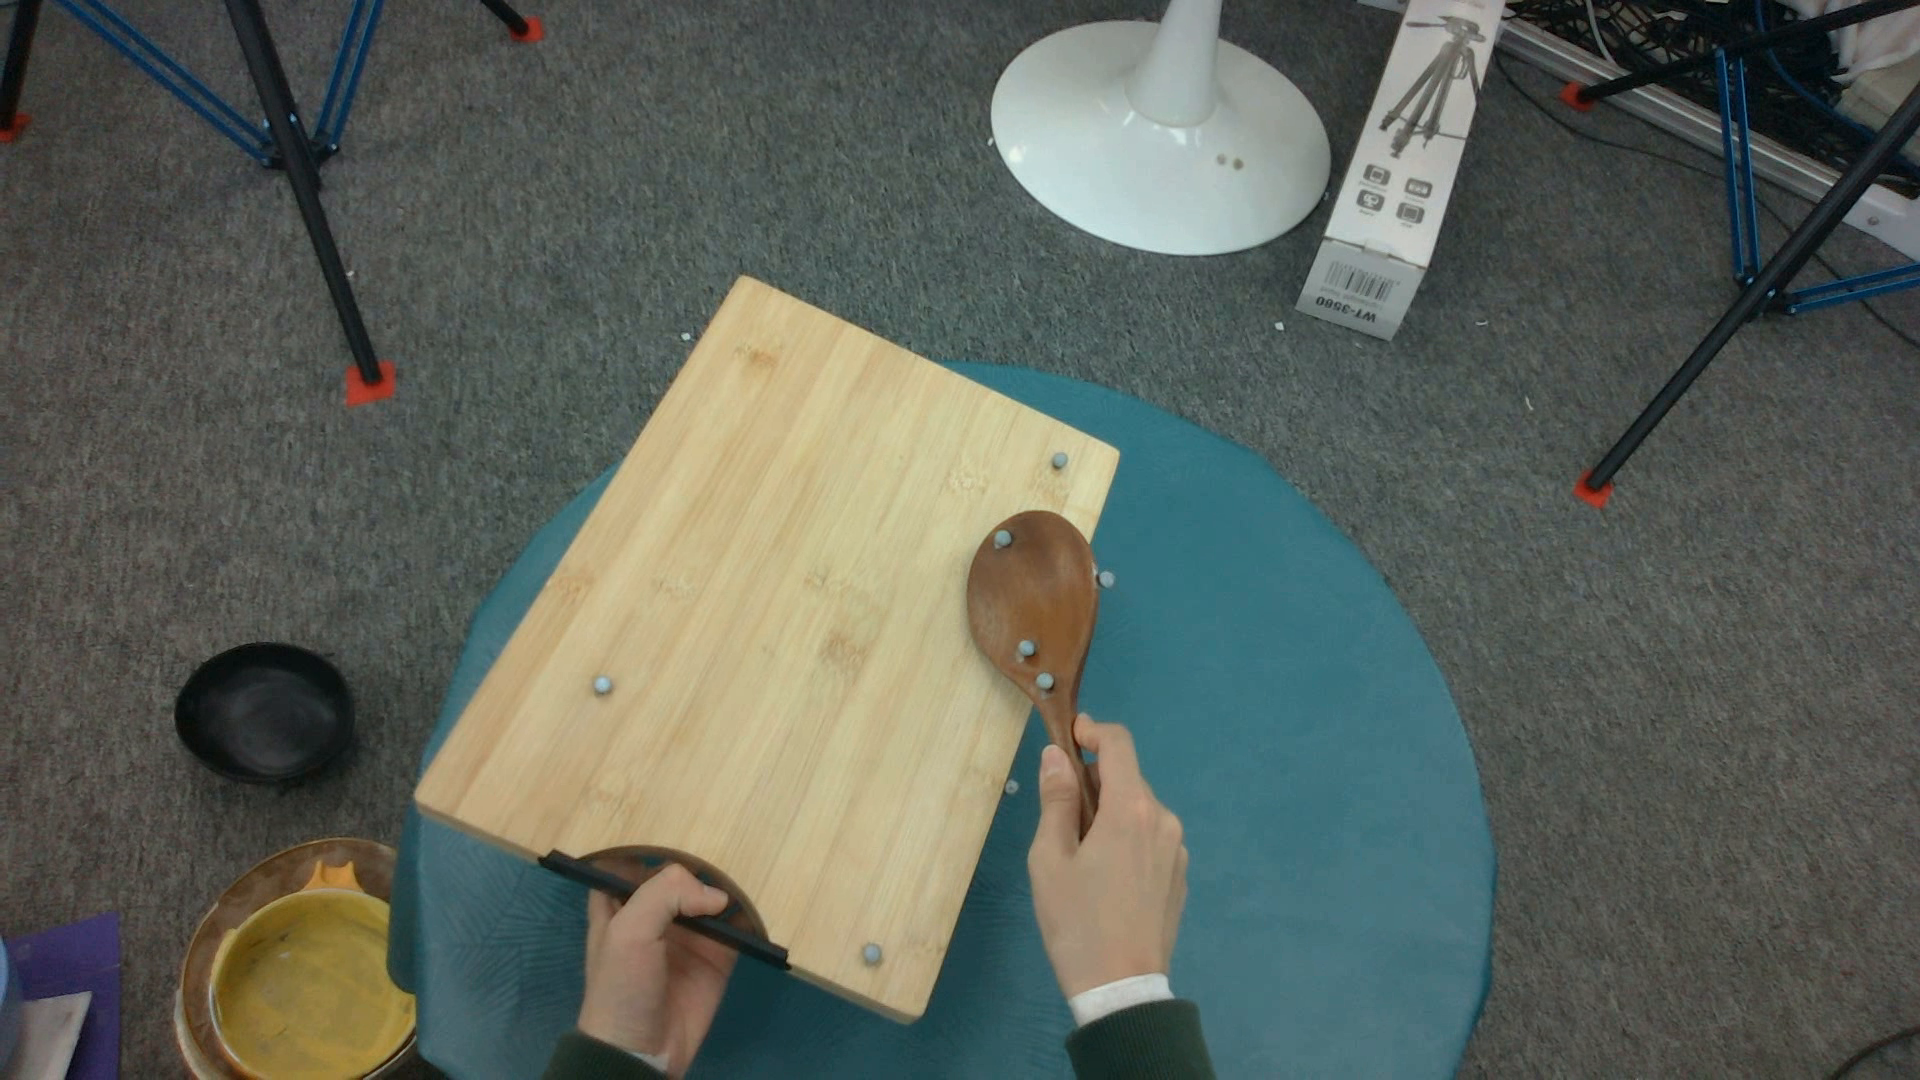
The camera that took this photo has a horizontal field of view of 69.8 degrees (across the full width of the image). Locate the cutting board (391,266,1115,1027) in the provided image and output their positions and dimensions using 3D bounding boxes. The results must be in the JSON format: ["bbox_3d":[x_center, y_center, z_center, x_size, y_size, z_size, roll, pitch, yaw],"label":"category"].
[{"bbox_3d":[-0.078,0.032,0.693,0.251,0.023,0.350,24,56,-3],"label":"cutting board"}]

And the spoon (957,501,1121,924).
[{"bbox_3d":[0.044,0.076,0.662,0.075,0.017,0.216,-22,58,19],"label":"spoon"}]
